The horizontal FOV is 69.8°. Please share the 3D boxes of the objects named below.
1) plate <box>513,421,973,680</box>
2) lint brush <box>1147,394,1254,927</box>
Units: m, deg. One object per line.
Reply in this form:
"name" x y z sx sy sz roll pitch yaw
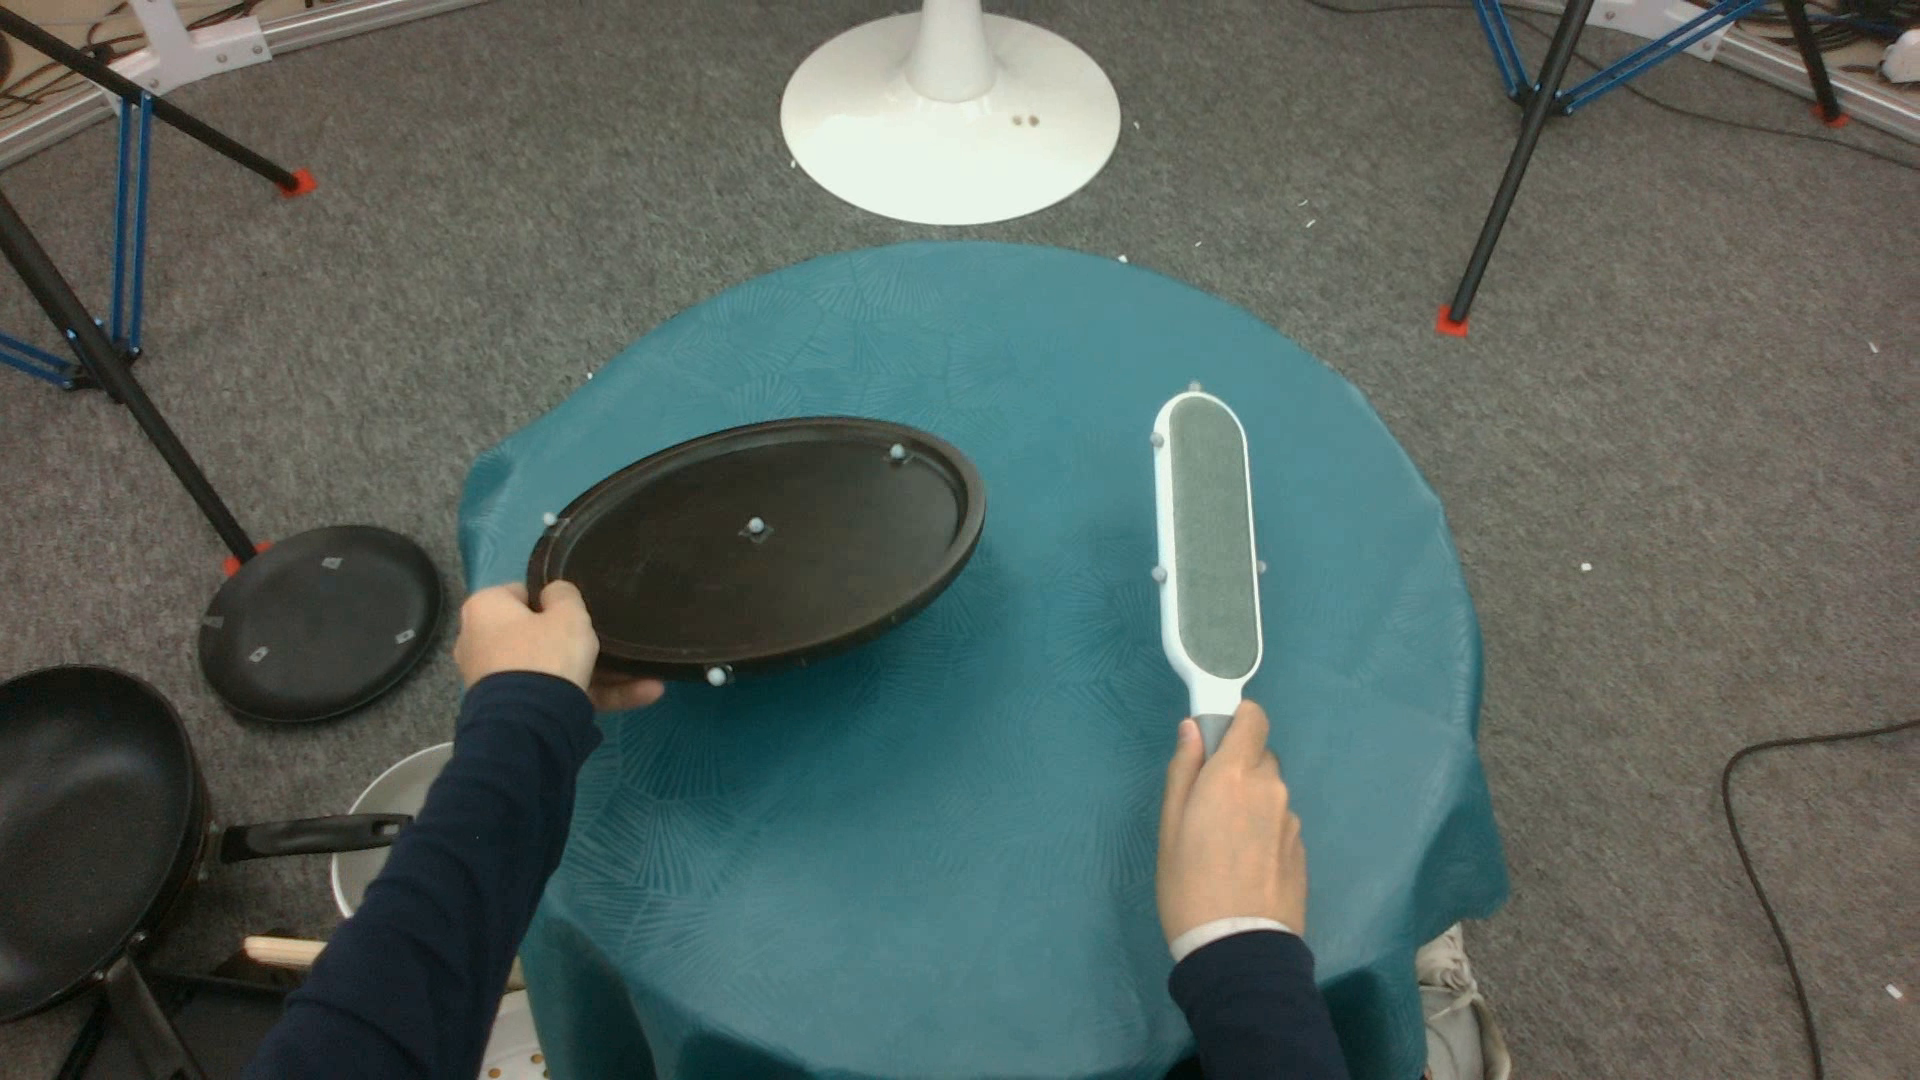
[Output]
"plate" -0.118 -0.002 0.768 0.255 0.029 0.256 -5 31 3
"lint brush" 0.131 0.051 0.741 0.060 0.021 0.310 15 58 -22
